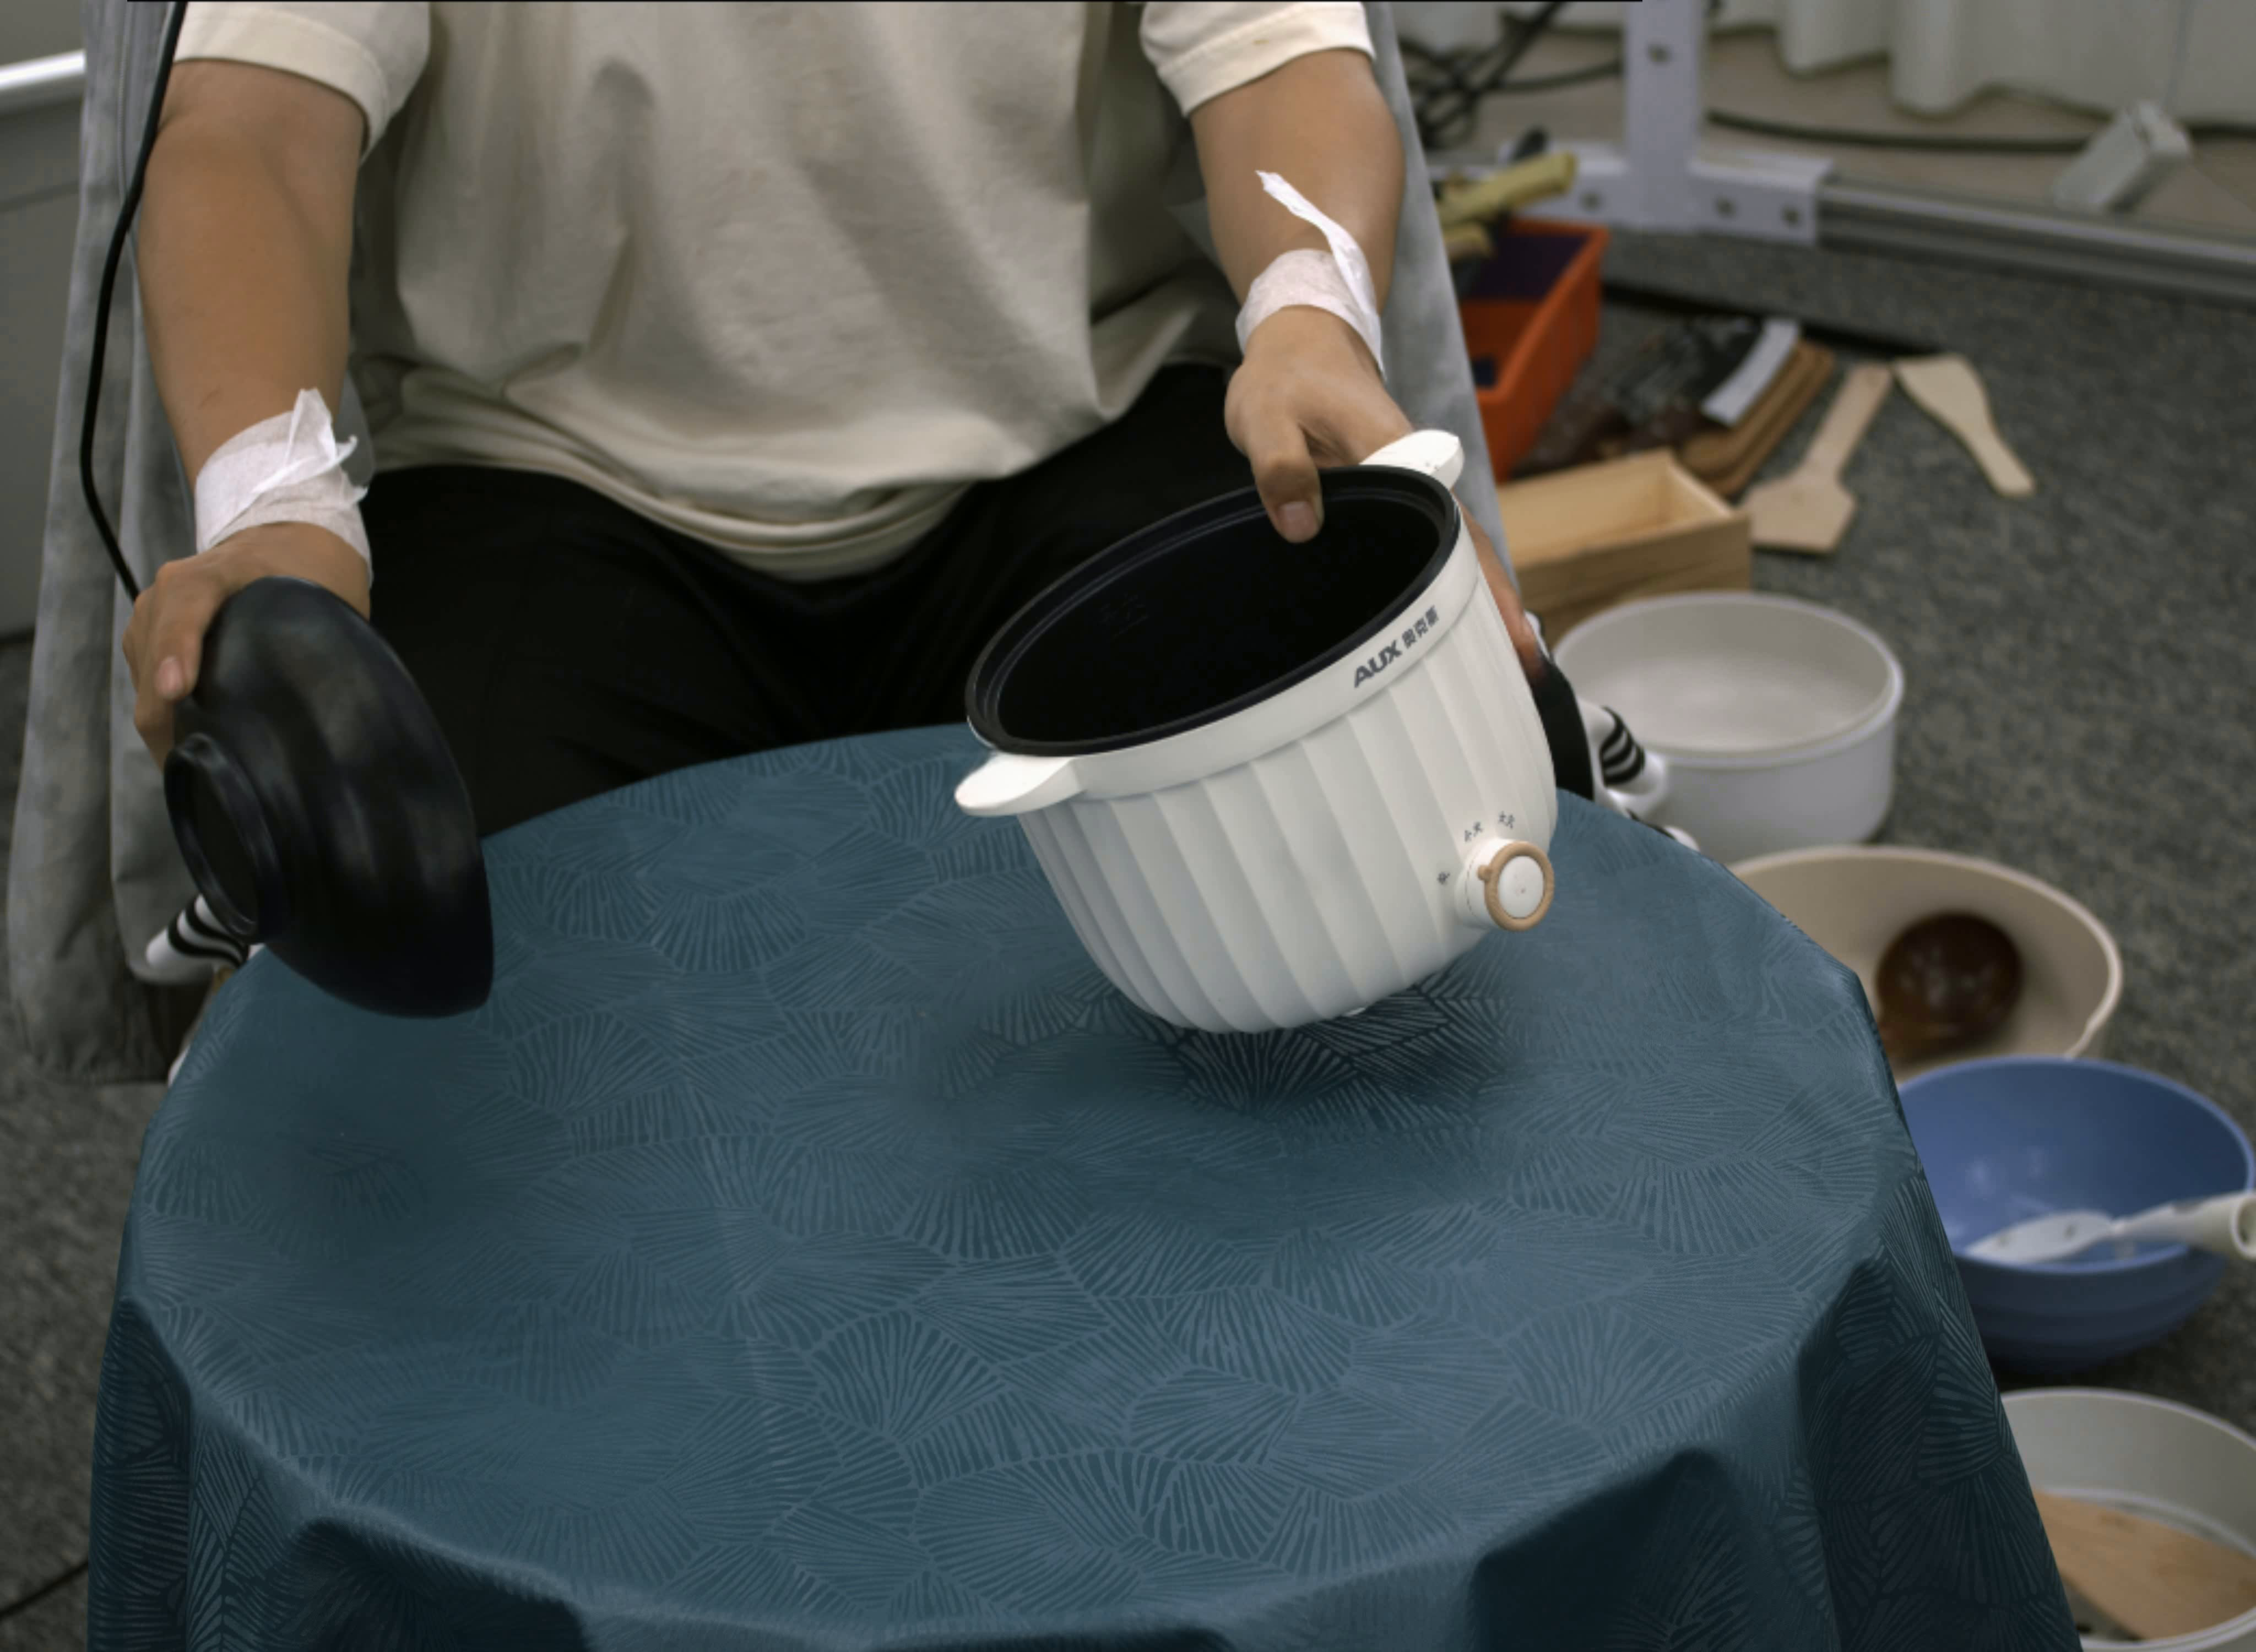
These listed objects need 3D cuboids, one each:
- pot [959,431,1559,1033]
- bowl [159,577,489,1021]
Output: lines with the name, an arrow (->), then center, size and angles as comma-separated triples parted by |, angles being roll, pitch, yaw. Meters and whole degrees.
pot -> 0.057, -0.021, 1.923 | 0.244, 0.142, 0.189 | -40, 24, -31
bowl -> -0.272, -0.003, 1.835 | 0.067, 0.135, 0.172 | -21, 58, -28
